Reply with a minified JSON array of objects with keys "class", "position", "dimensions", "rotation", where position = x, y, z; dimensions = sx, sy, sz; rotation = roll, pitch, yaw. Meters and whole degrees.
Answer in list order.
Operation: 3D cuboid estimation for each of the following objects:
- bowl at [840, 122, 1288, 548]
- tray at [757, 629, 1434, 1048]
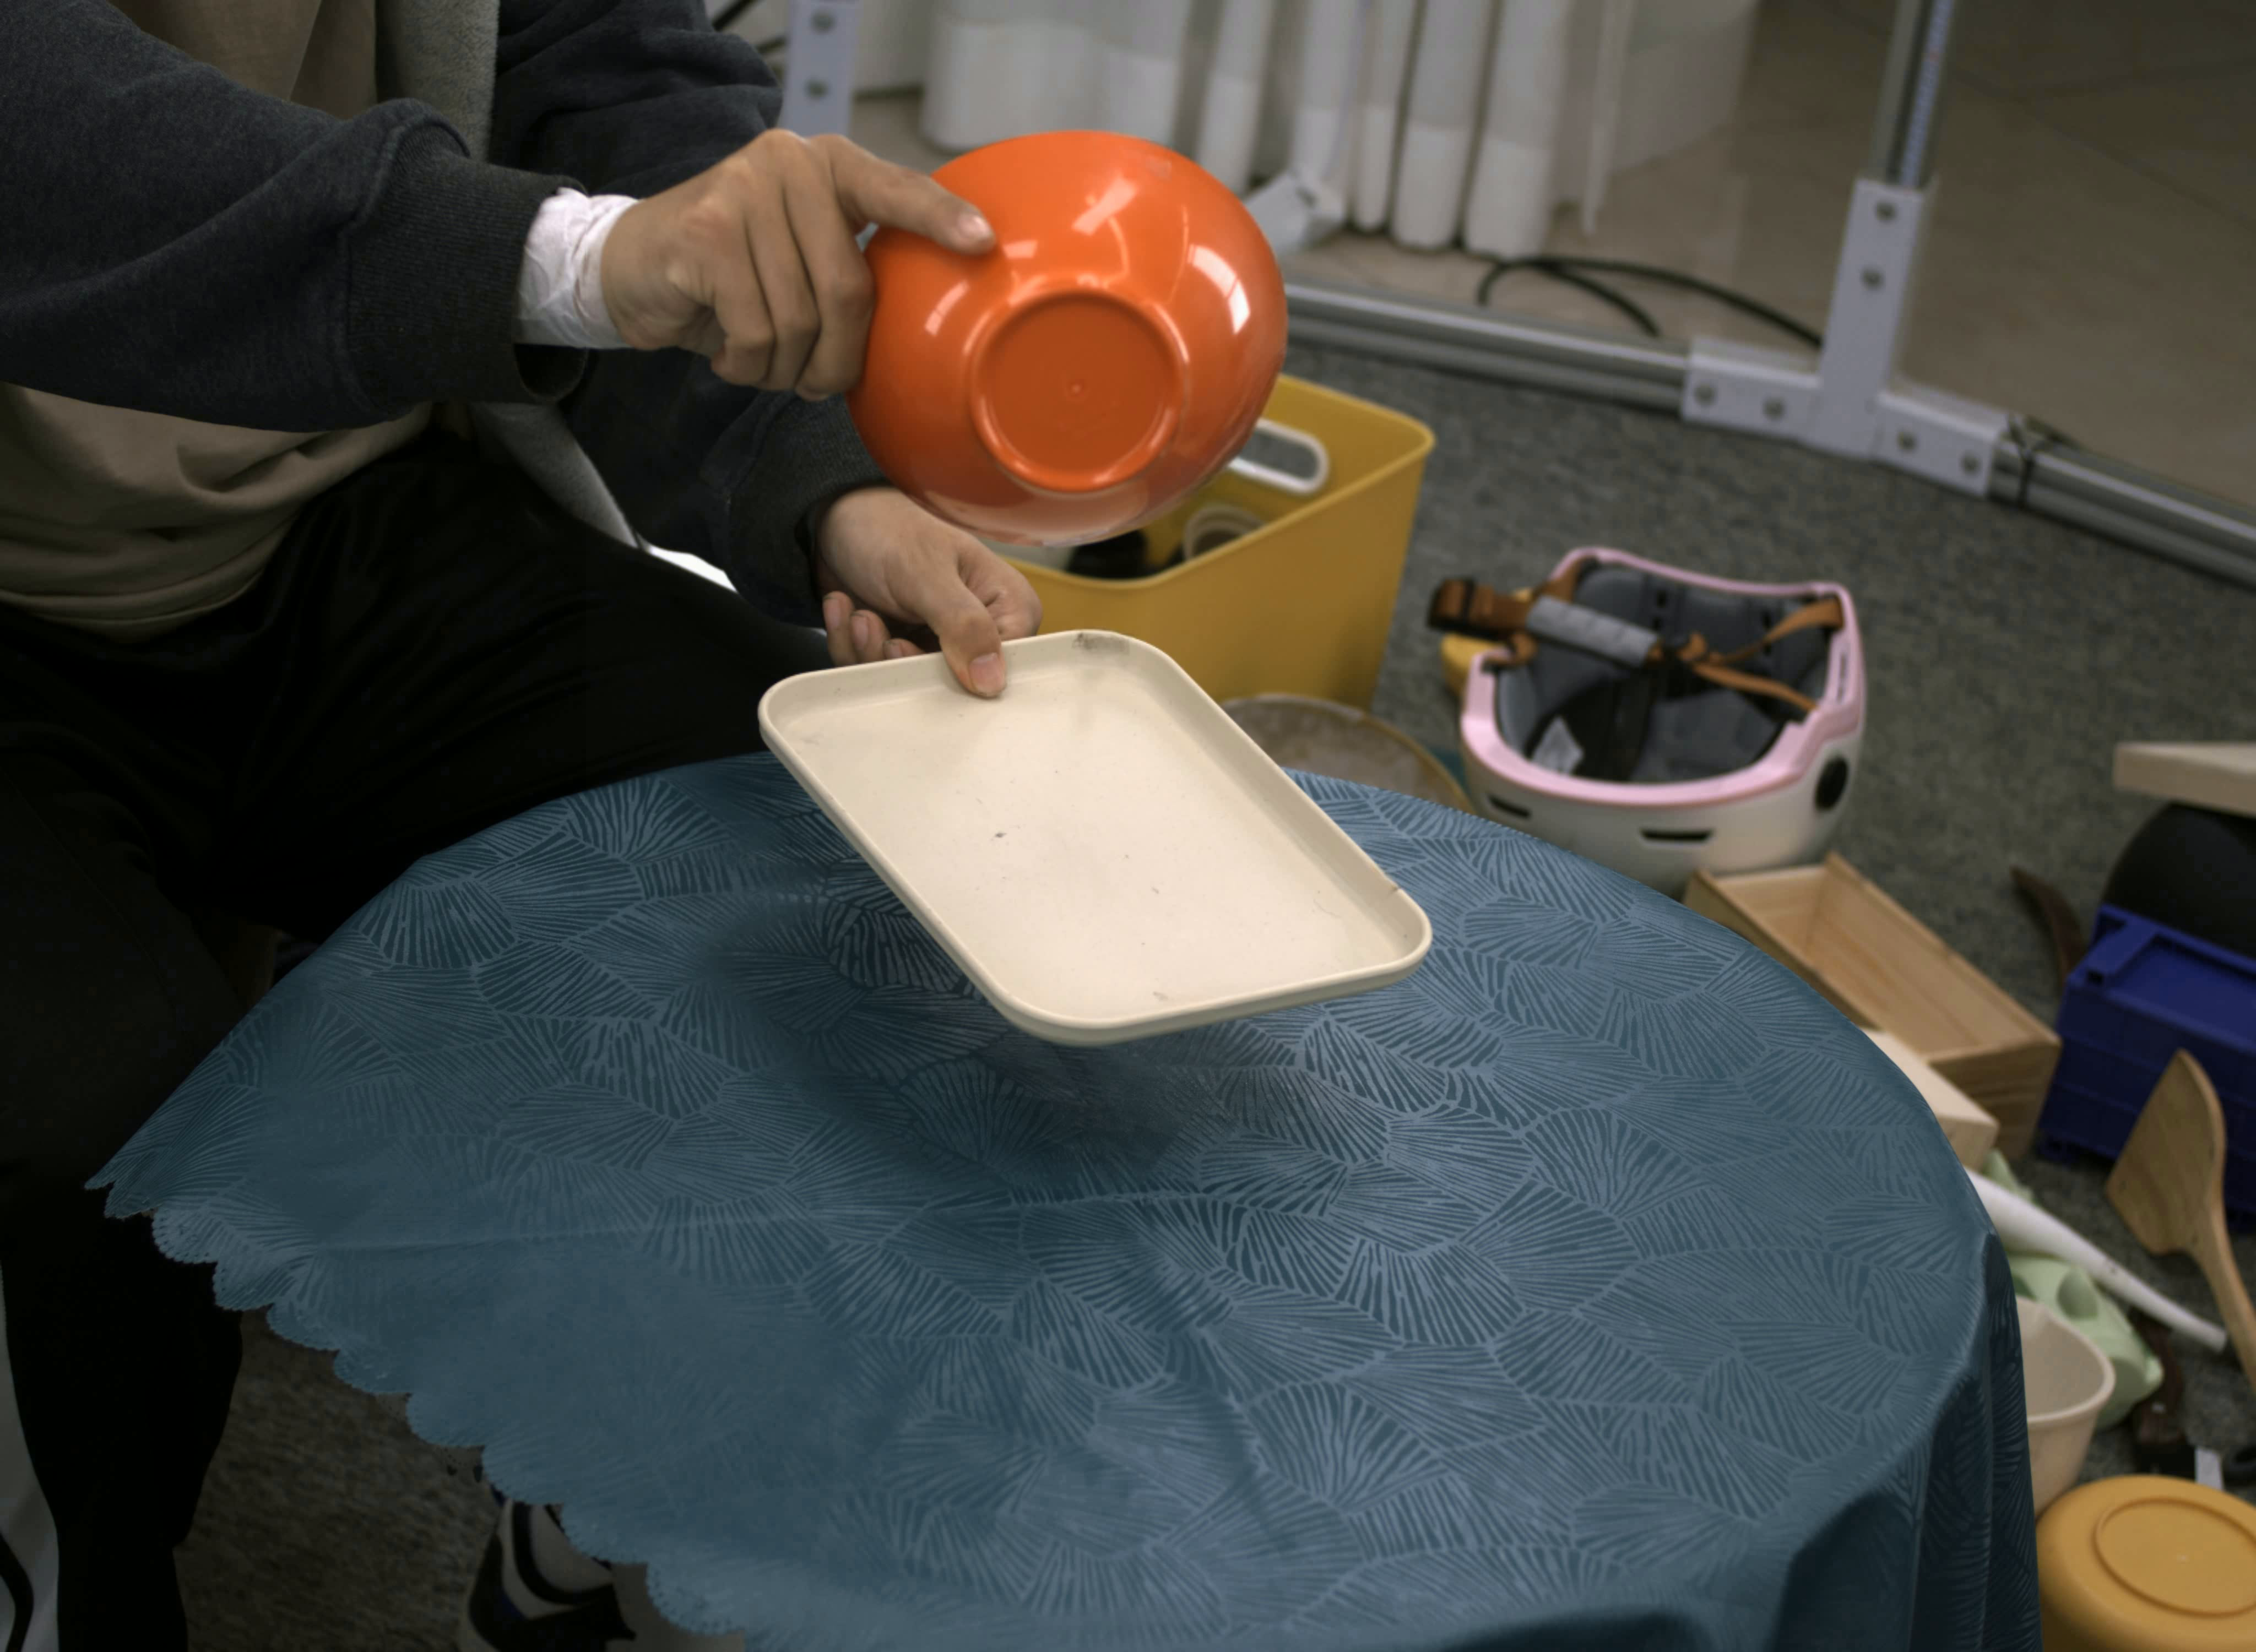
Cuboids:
[{"class":"bowl","position":[-0.016,-0.145,1.690],"dimensions":[0.147,0.148,0.105],"rotation":[4,19,-8]},{"class":"tray","position":[-0.014,0.003,1.879],"dimensions":[0.170,0.017,0.242],"rotation":[-11,36,-27]}]
